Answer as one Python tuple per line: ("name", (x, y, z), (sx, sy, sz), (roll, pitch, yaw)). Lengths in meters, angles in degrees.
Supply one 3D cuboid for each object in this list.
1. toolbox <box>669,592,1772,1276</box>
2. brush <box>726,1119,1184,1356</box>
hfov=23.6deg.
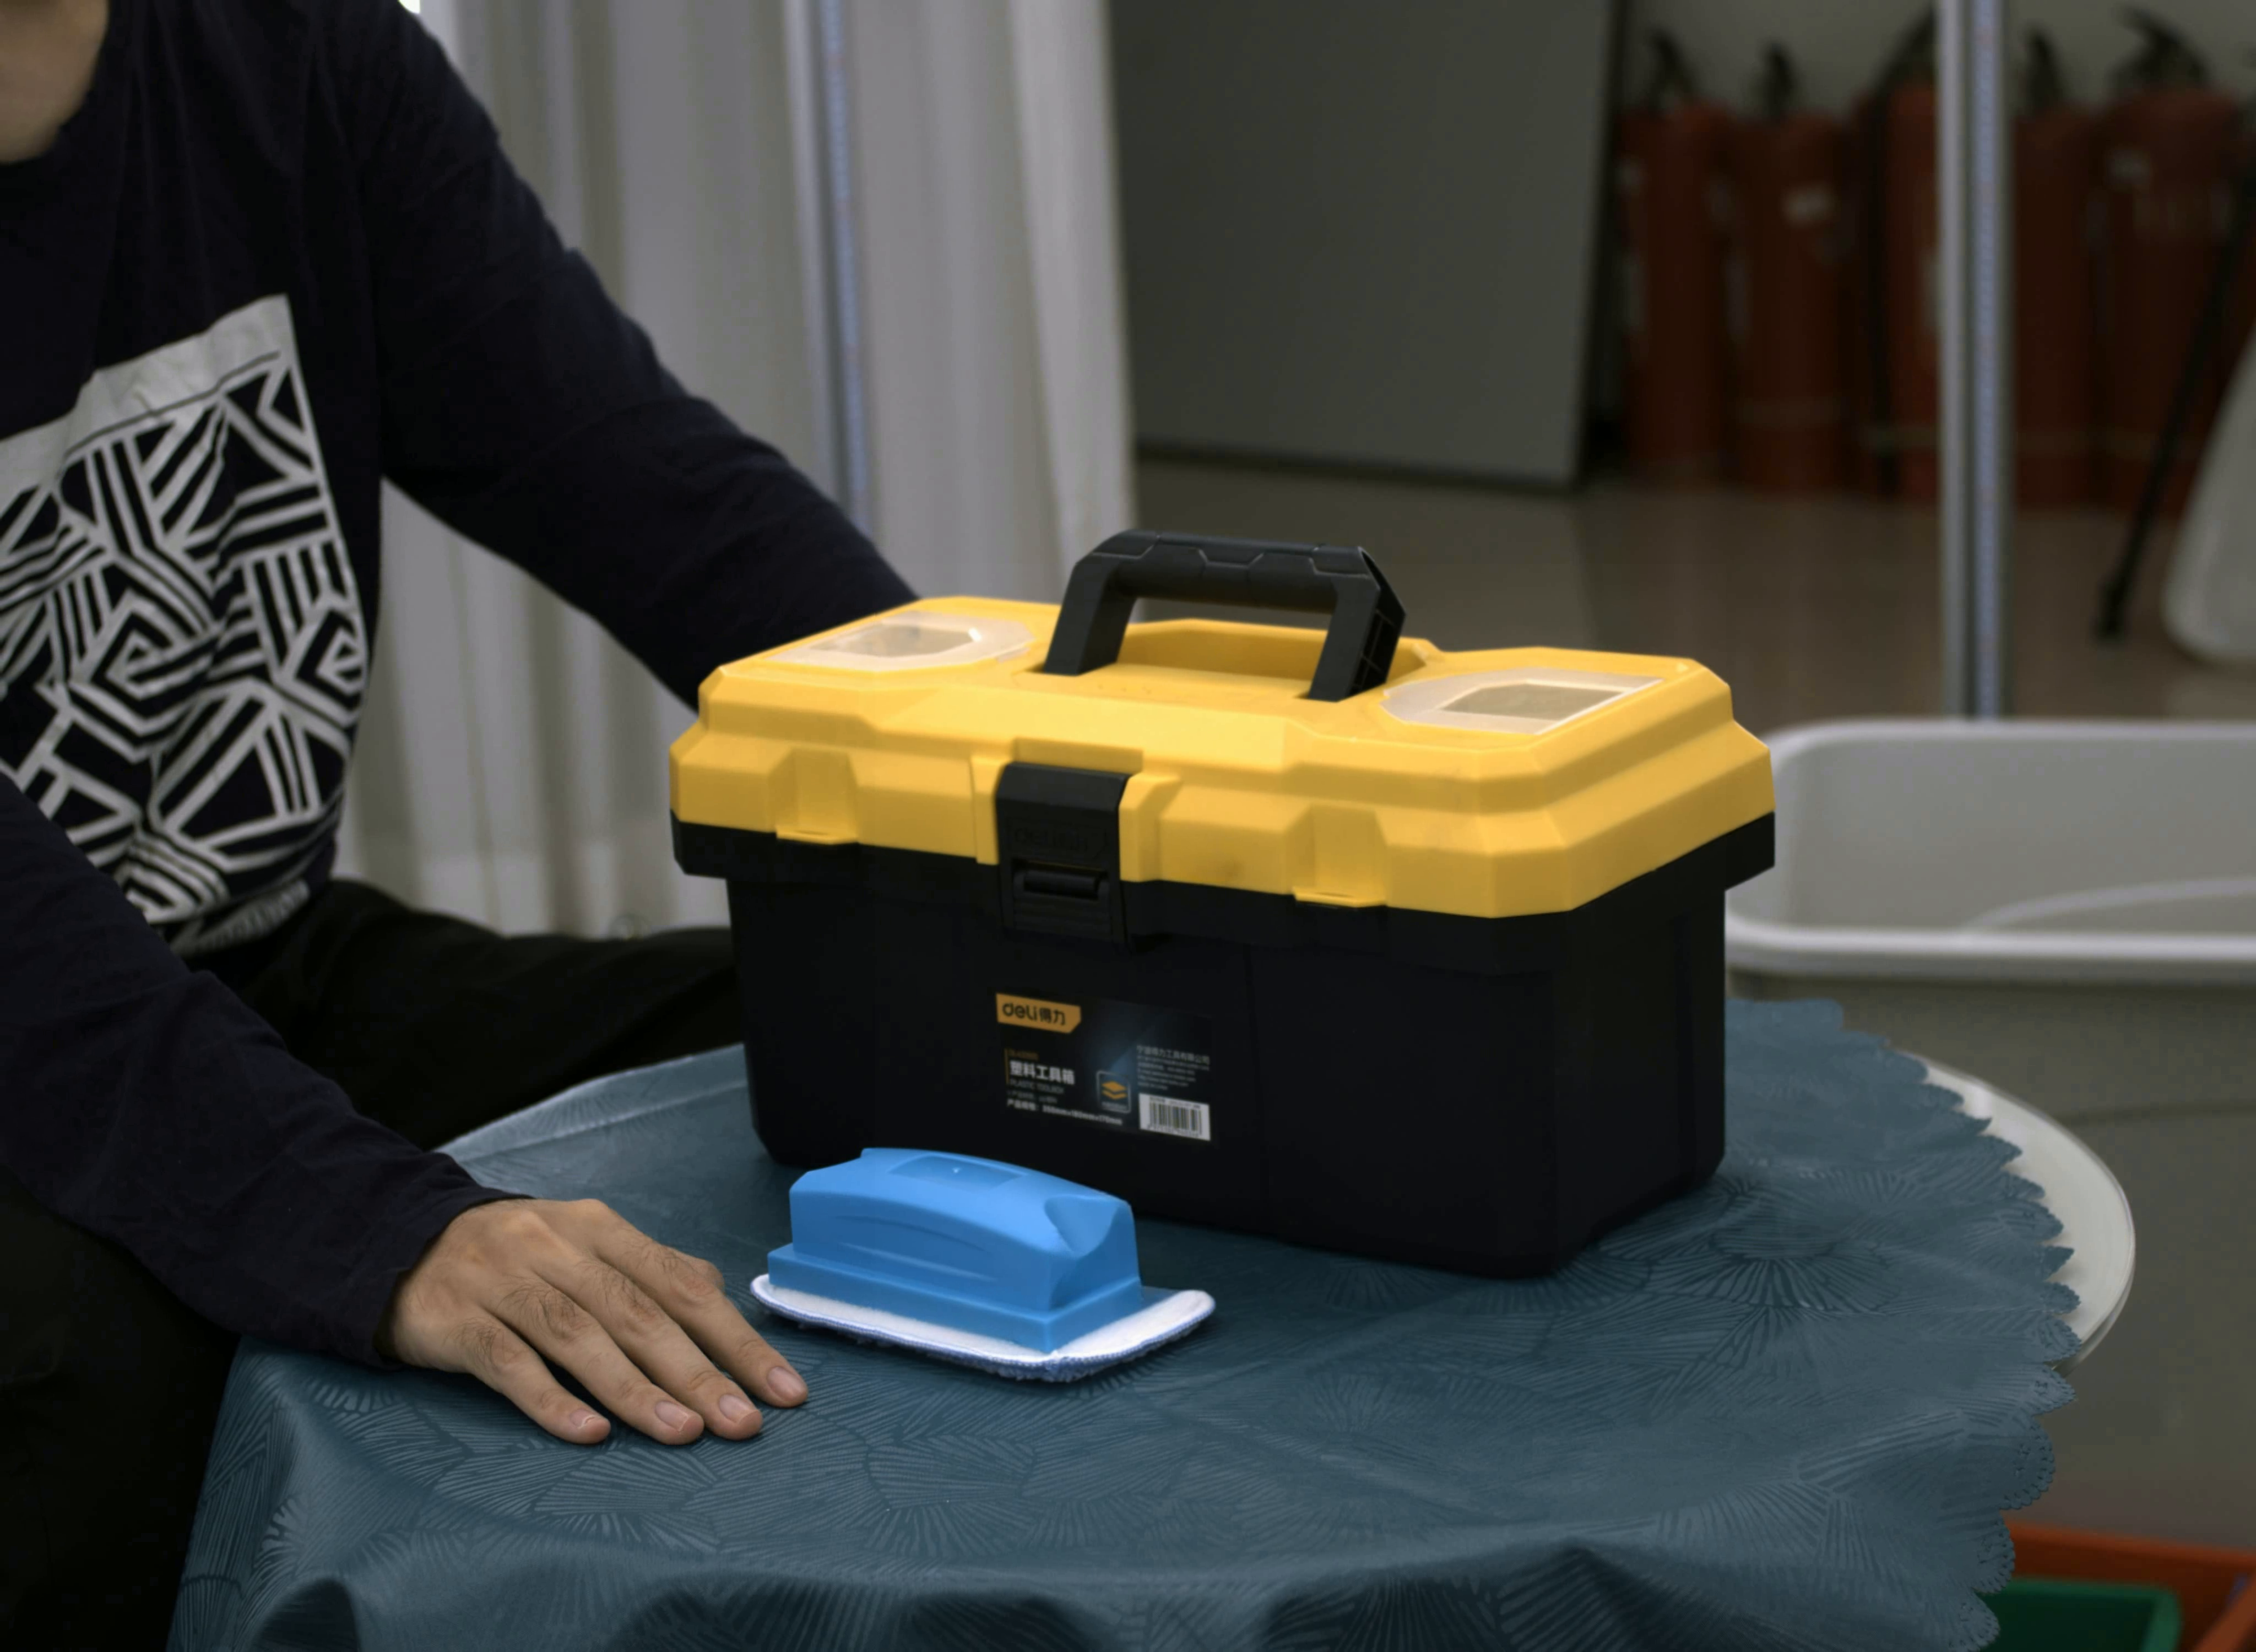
("toolbox", (0.027, 0.030, 1.770), (0.354, 0.175, 0.178), (6, 16, 36))
("brush", (-0.053, 0.124, 1.652), (0.082, 0.056, 0.145), (-13, 18, -43))
